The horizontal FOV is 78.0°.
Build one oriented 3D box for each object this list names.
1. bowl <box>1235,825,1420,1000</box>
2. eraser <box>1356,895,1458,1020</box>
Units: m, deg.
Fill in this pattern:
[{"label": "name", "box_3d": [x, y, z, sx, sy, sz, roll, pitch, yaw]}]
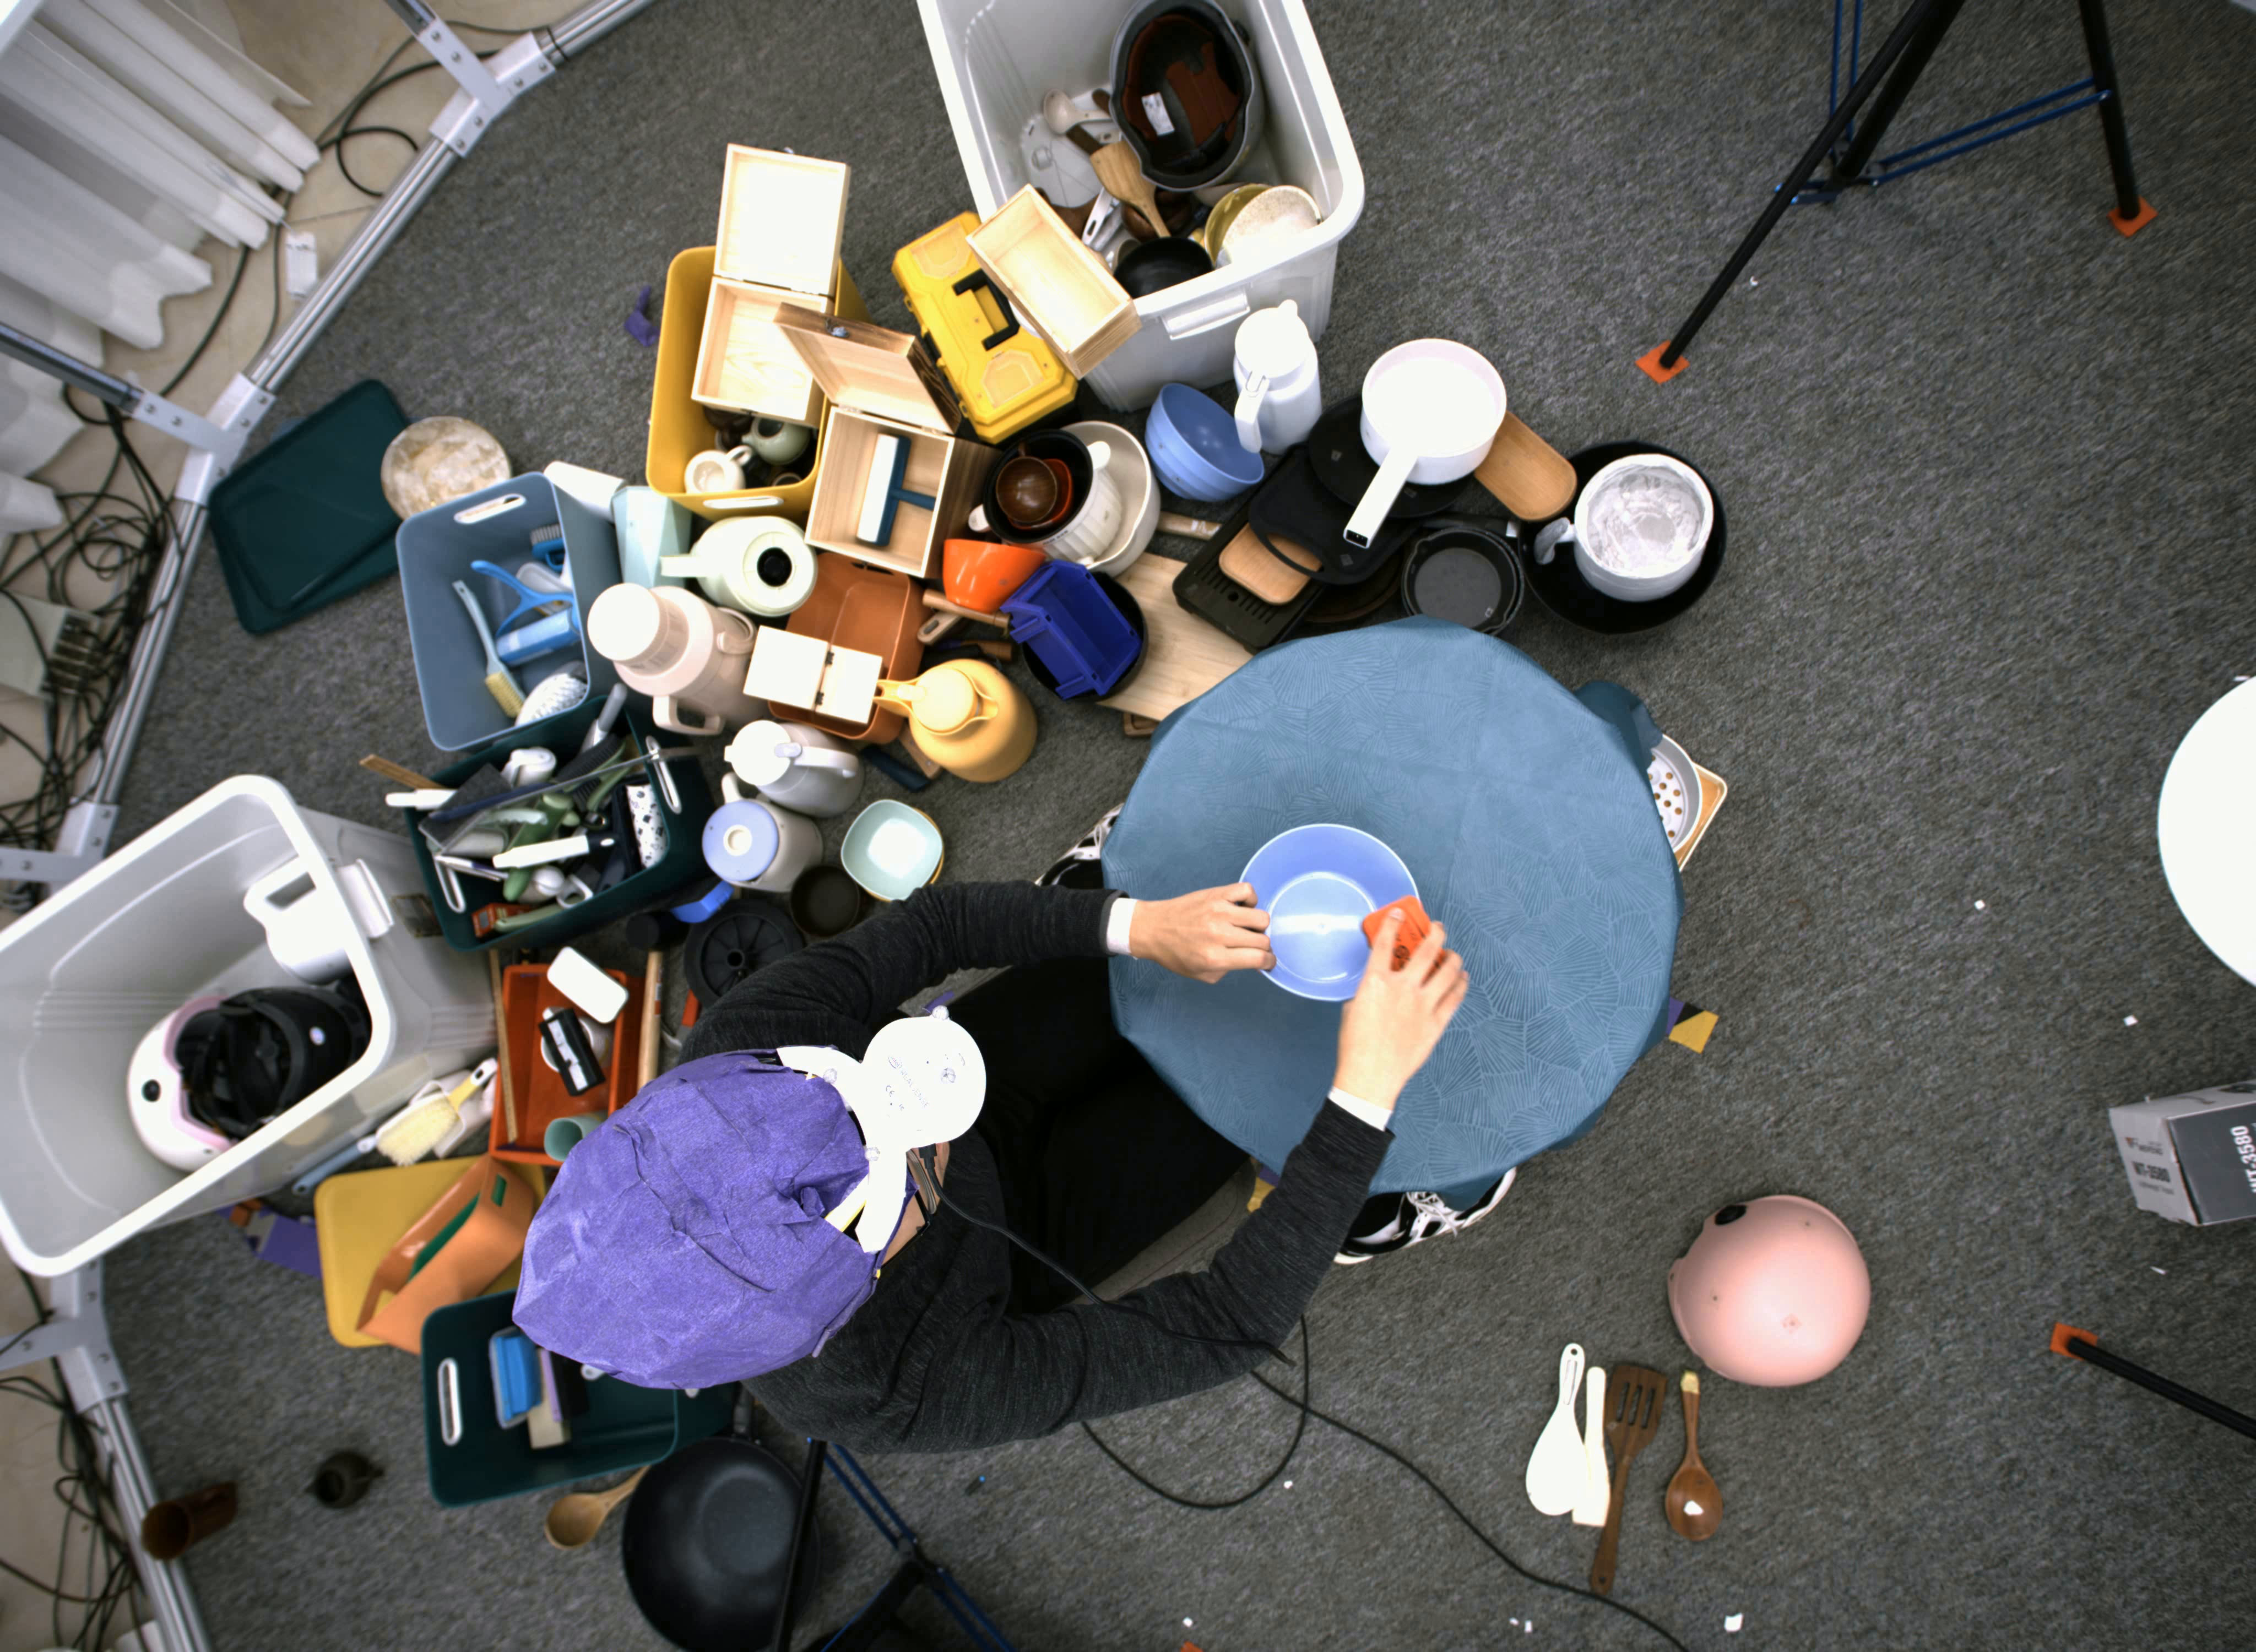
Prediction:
[{"label": "bowl", "box_3d": [0.190, 0.091, 1.341, 0.176, 0.071, 0.173, -1, 70, 3]}, {"label": "eraser", "box_3d": [0.258, 0.120, 1.281, 0.059, 0.023, 0.107, -24, 83, -9]}]
